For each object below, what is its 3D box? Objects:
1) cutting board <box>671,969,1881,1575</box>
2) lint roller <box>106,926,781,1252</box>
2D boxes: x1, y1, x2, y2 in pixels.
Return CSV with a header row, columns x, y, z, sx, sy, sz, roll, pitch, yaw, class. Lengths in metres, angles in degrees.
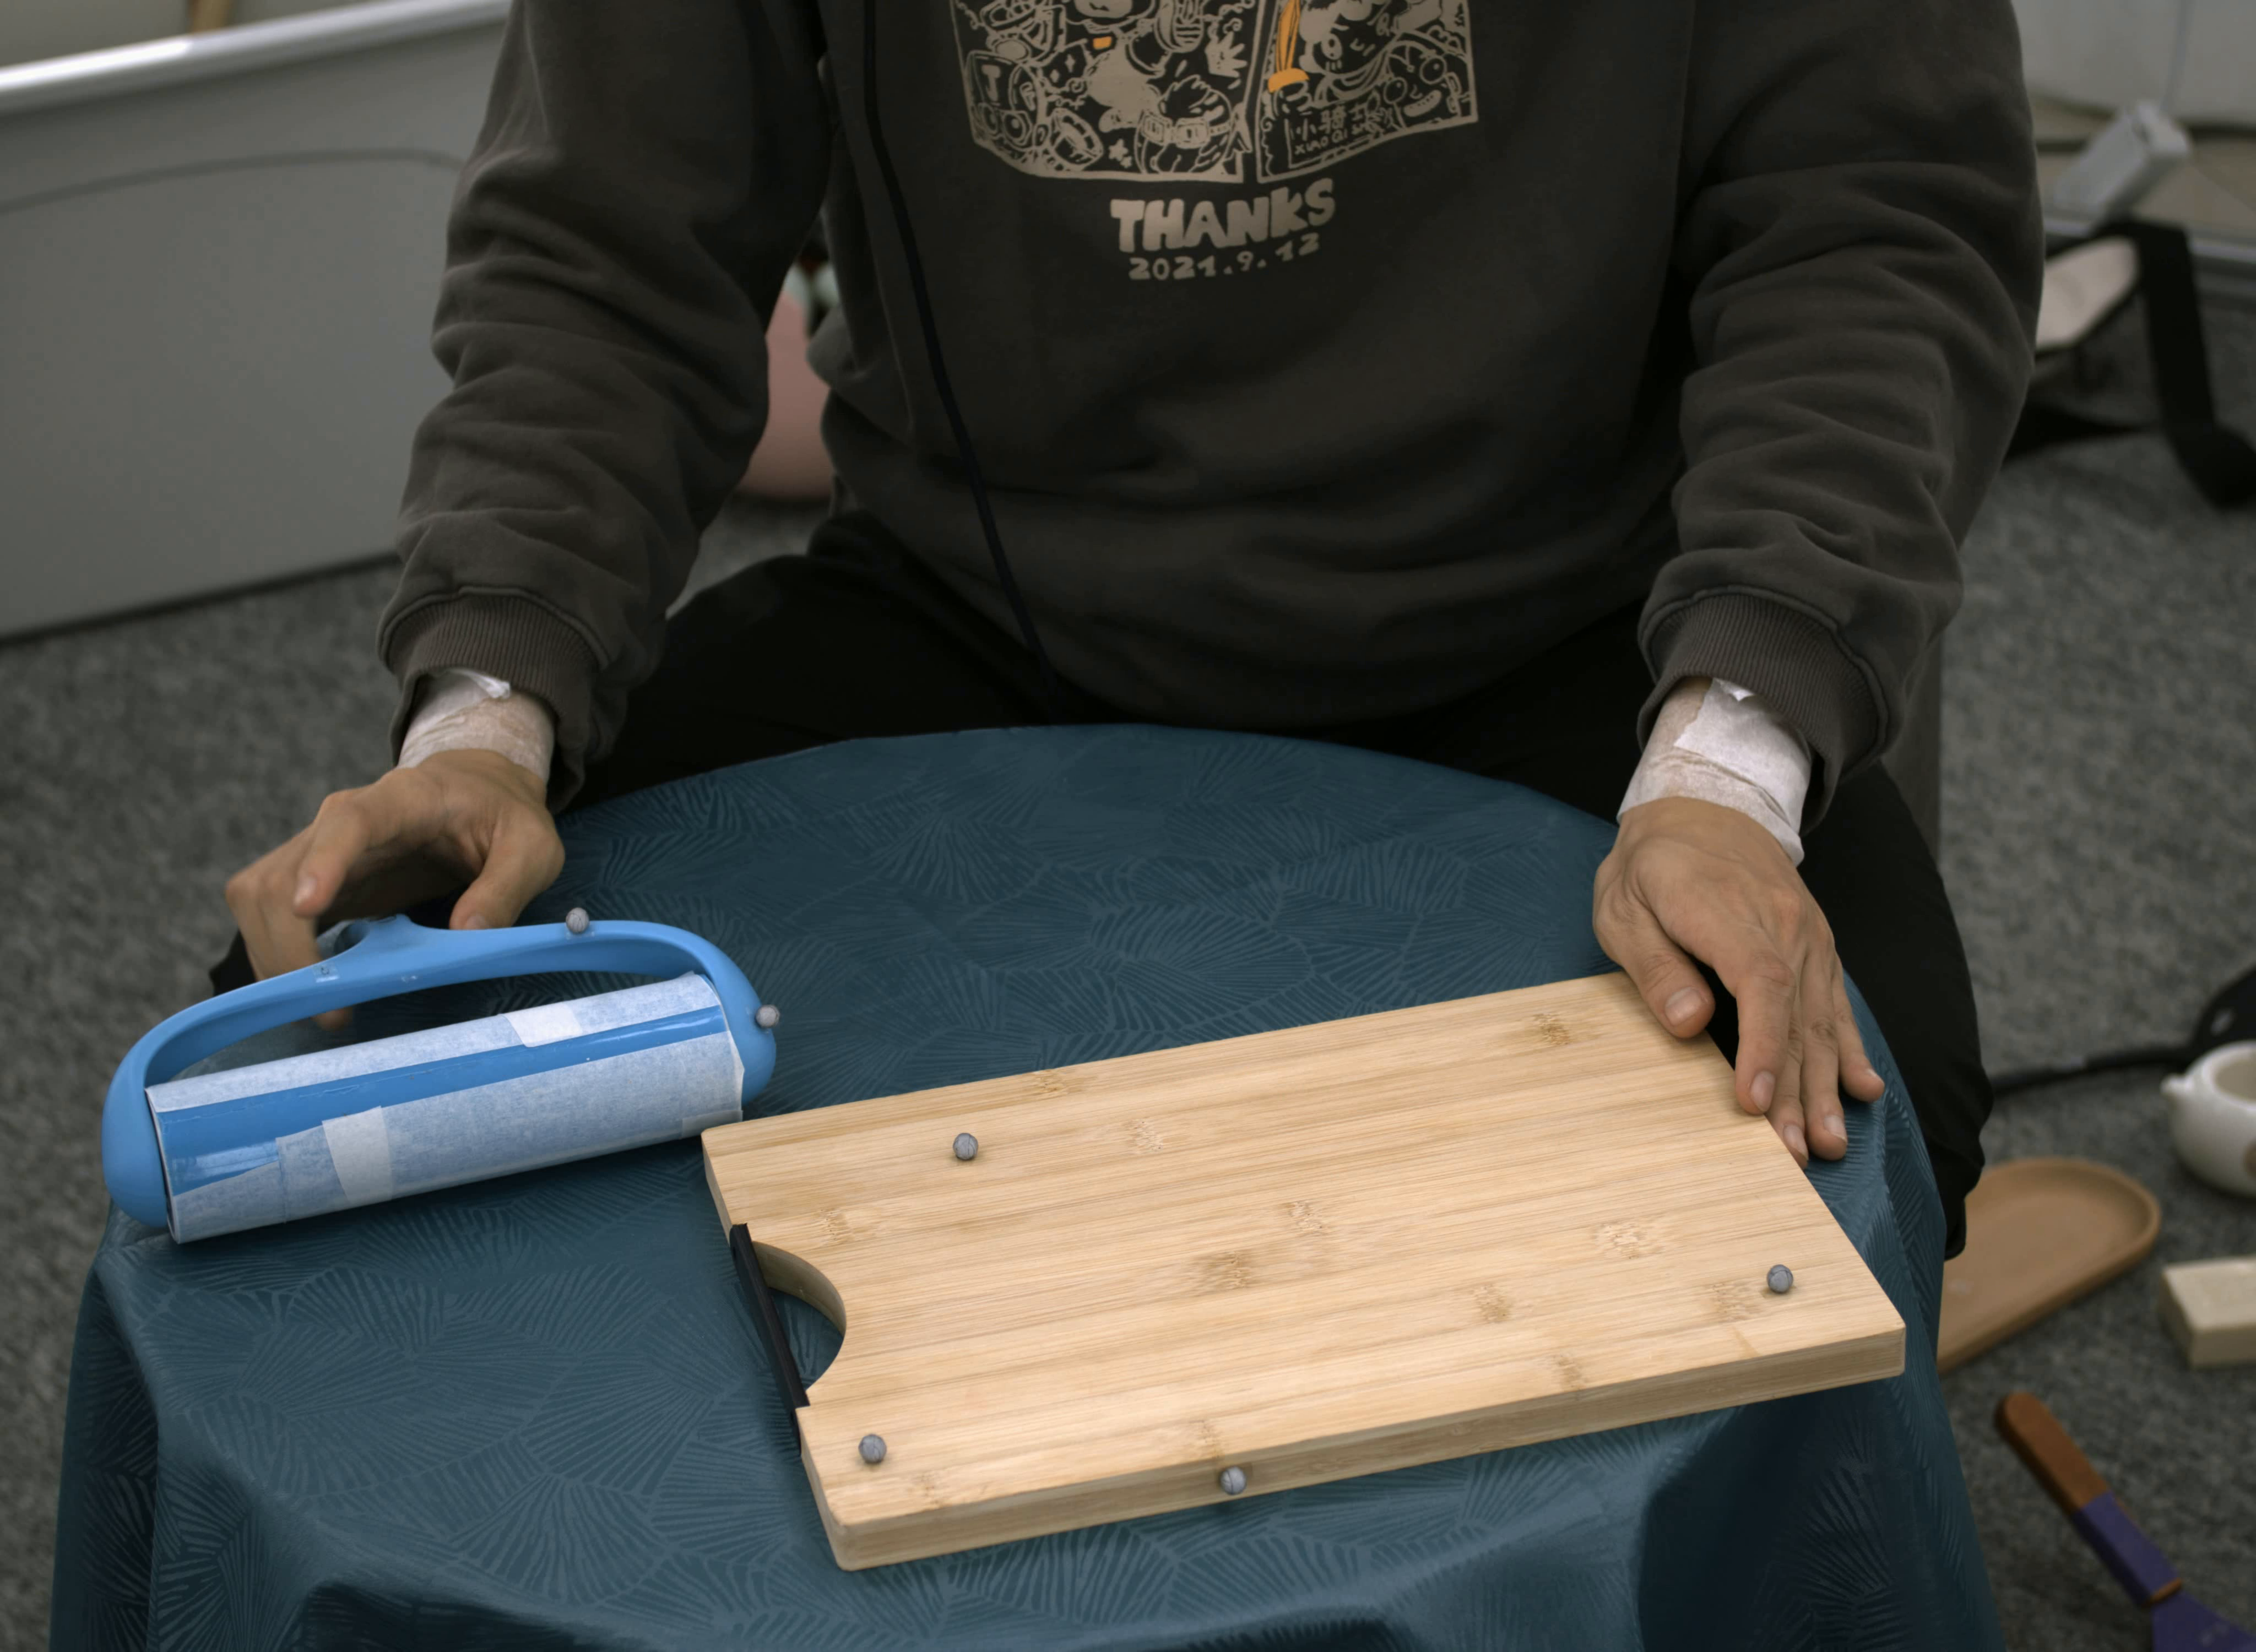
x,y,z,sx,sy,sz,roll,pitch,yaw,class
0.043,0.138,1.808,0.348,0.023,0.253,-9,28,-12,cutting board
-0.248,0.070,1.923,0.229,0.067,0.181,-14,30,-18,lint roller
